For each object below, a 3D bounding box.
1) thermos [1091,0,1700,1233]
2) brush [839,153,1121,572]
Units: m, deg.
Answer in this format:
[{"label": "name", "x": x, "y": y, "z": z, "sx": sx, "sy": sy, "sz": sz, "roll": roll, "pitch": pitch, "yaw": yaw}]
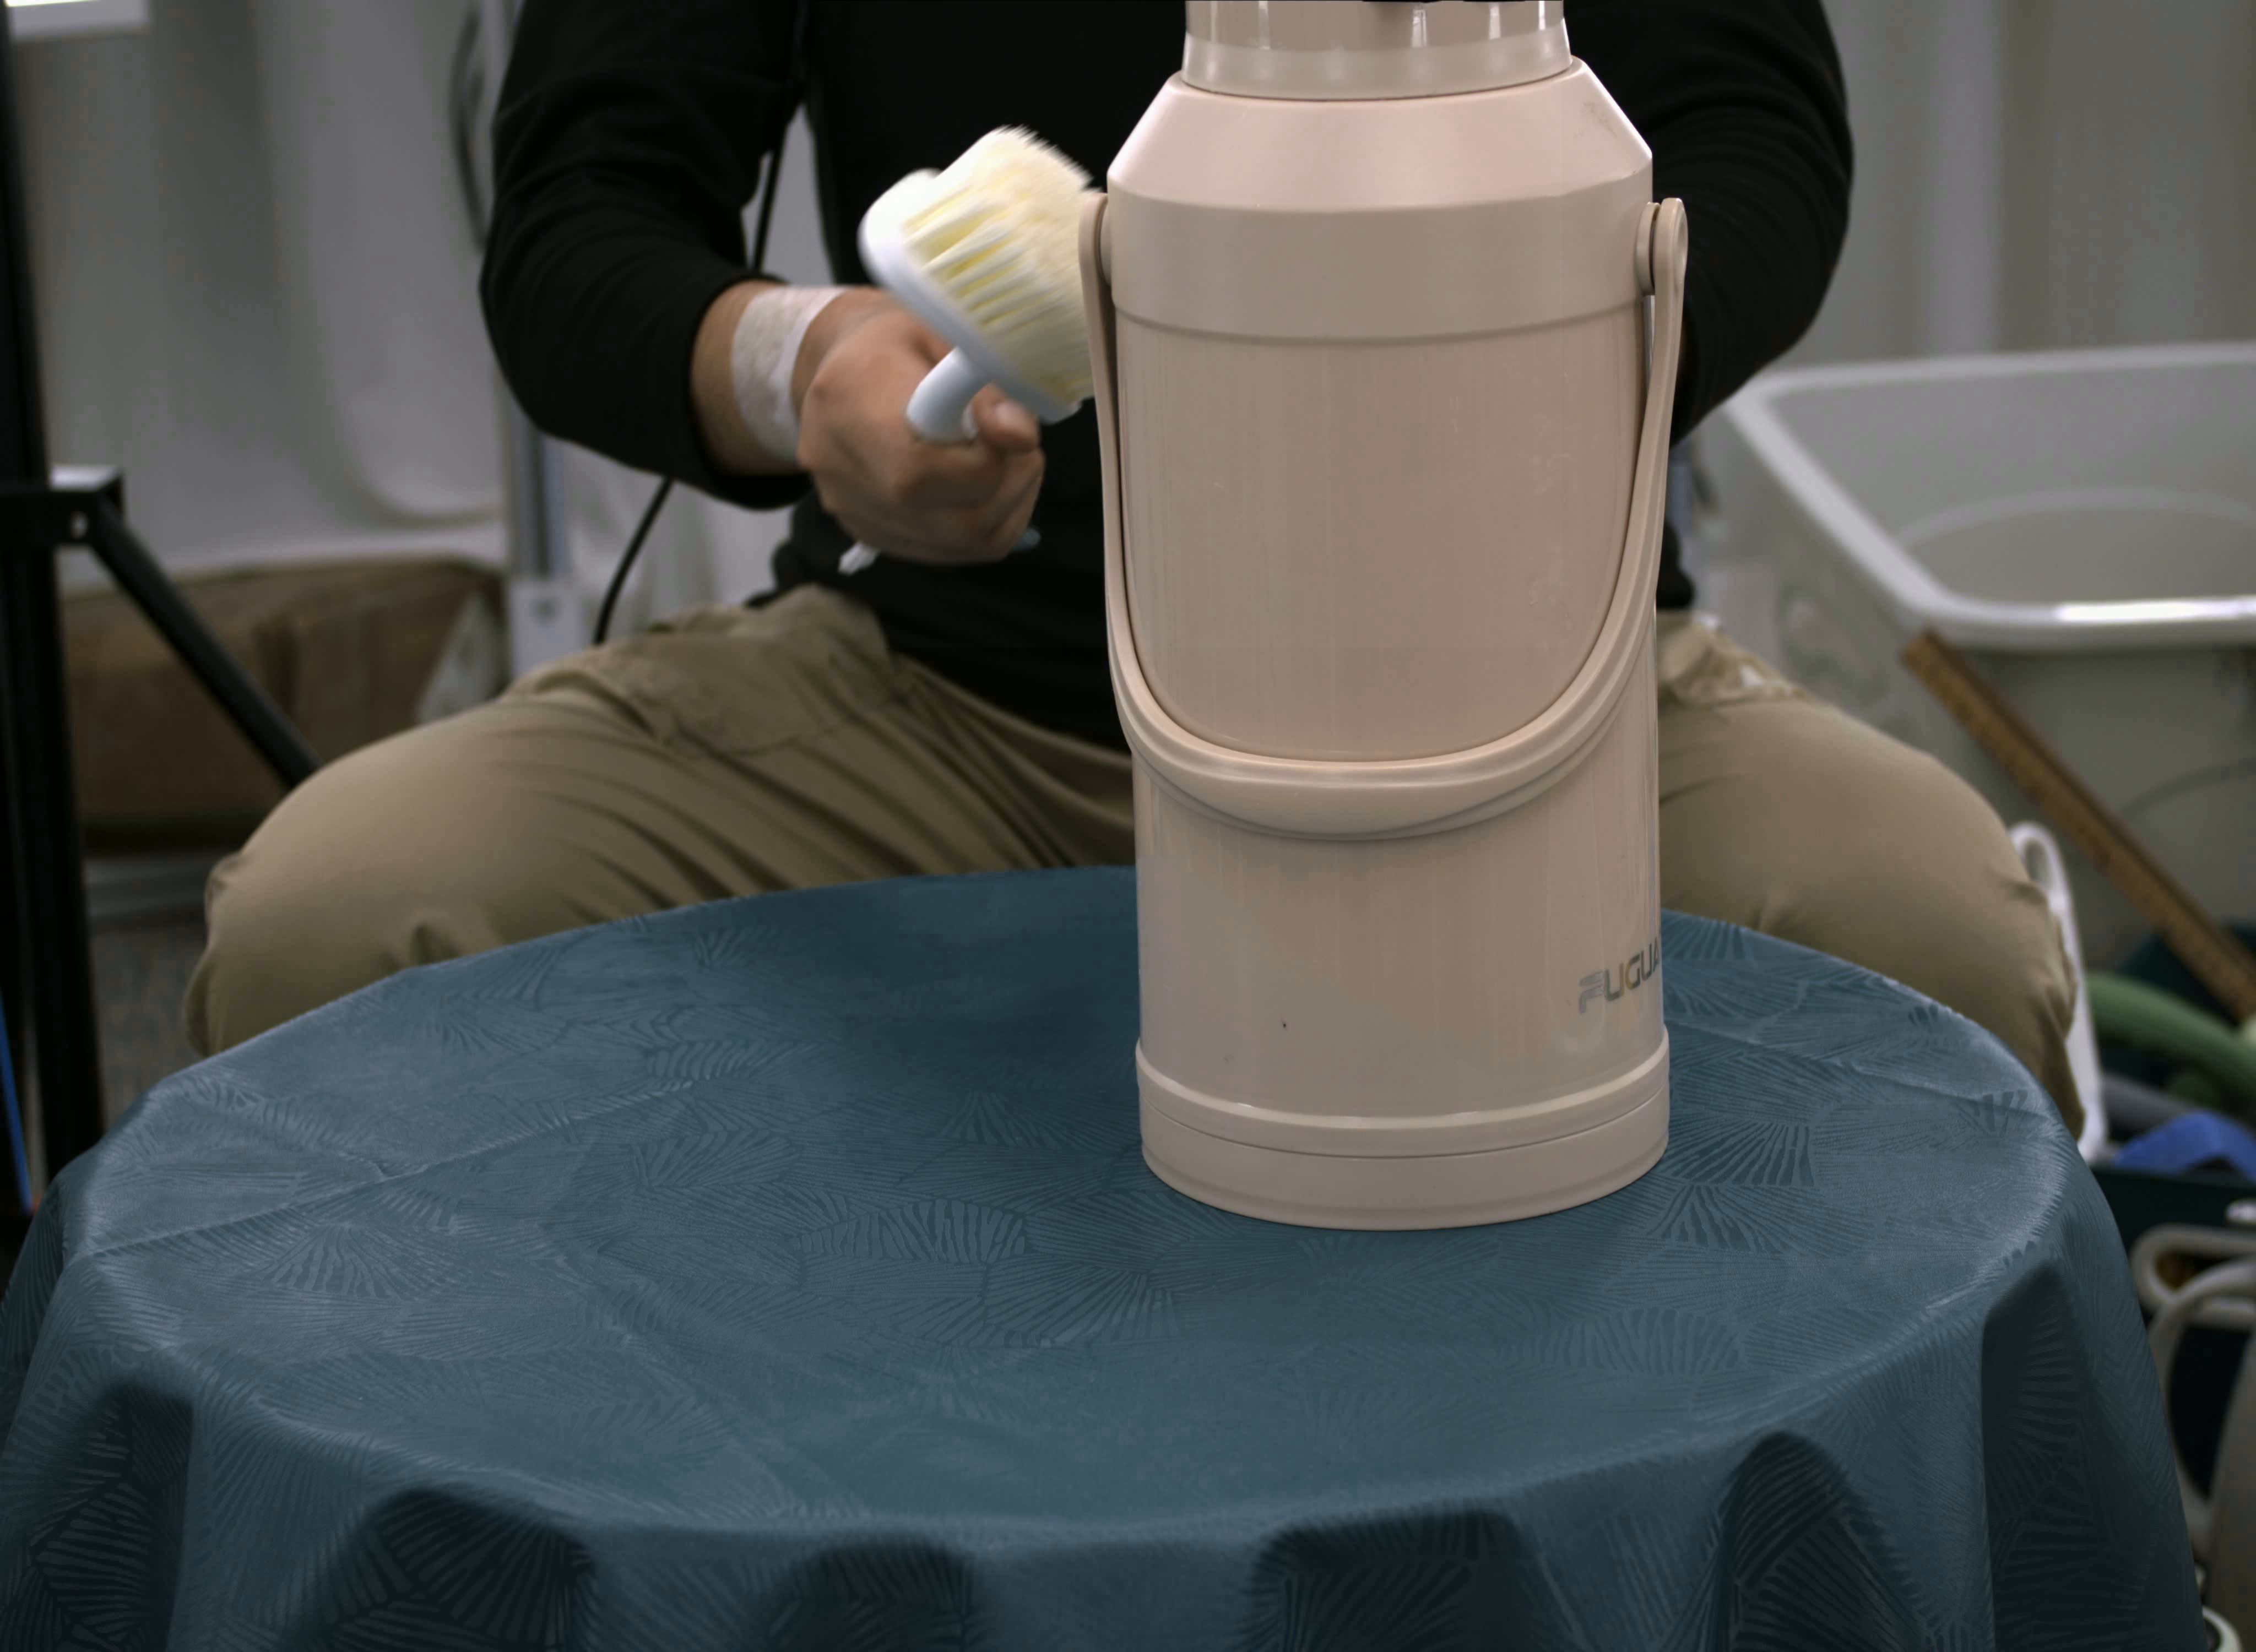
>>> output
[{"label": "thermos", "x": 0.084, "y": -0.100, "z": 1.551, "sx": 0.177, "sy": 0.406, "sz": 0.205, "roll": 1, "pitch": 15, "yaw": 17}, {"label": "brush", "x": -0.030, "y": -0.145, "z": 1.692, "sx": 0.085, "sy": 0.083, "sz": 0.322, "roll": 18, "pitch": -9, "yaw": 10}]
